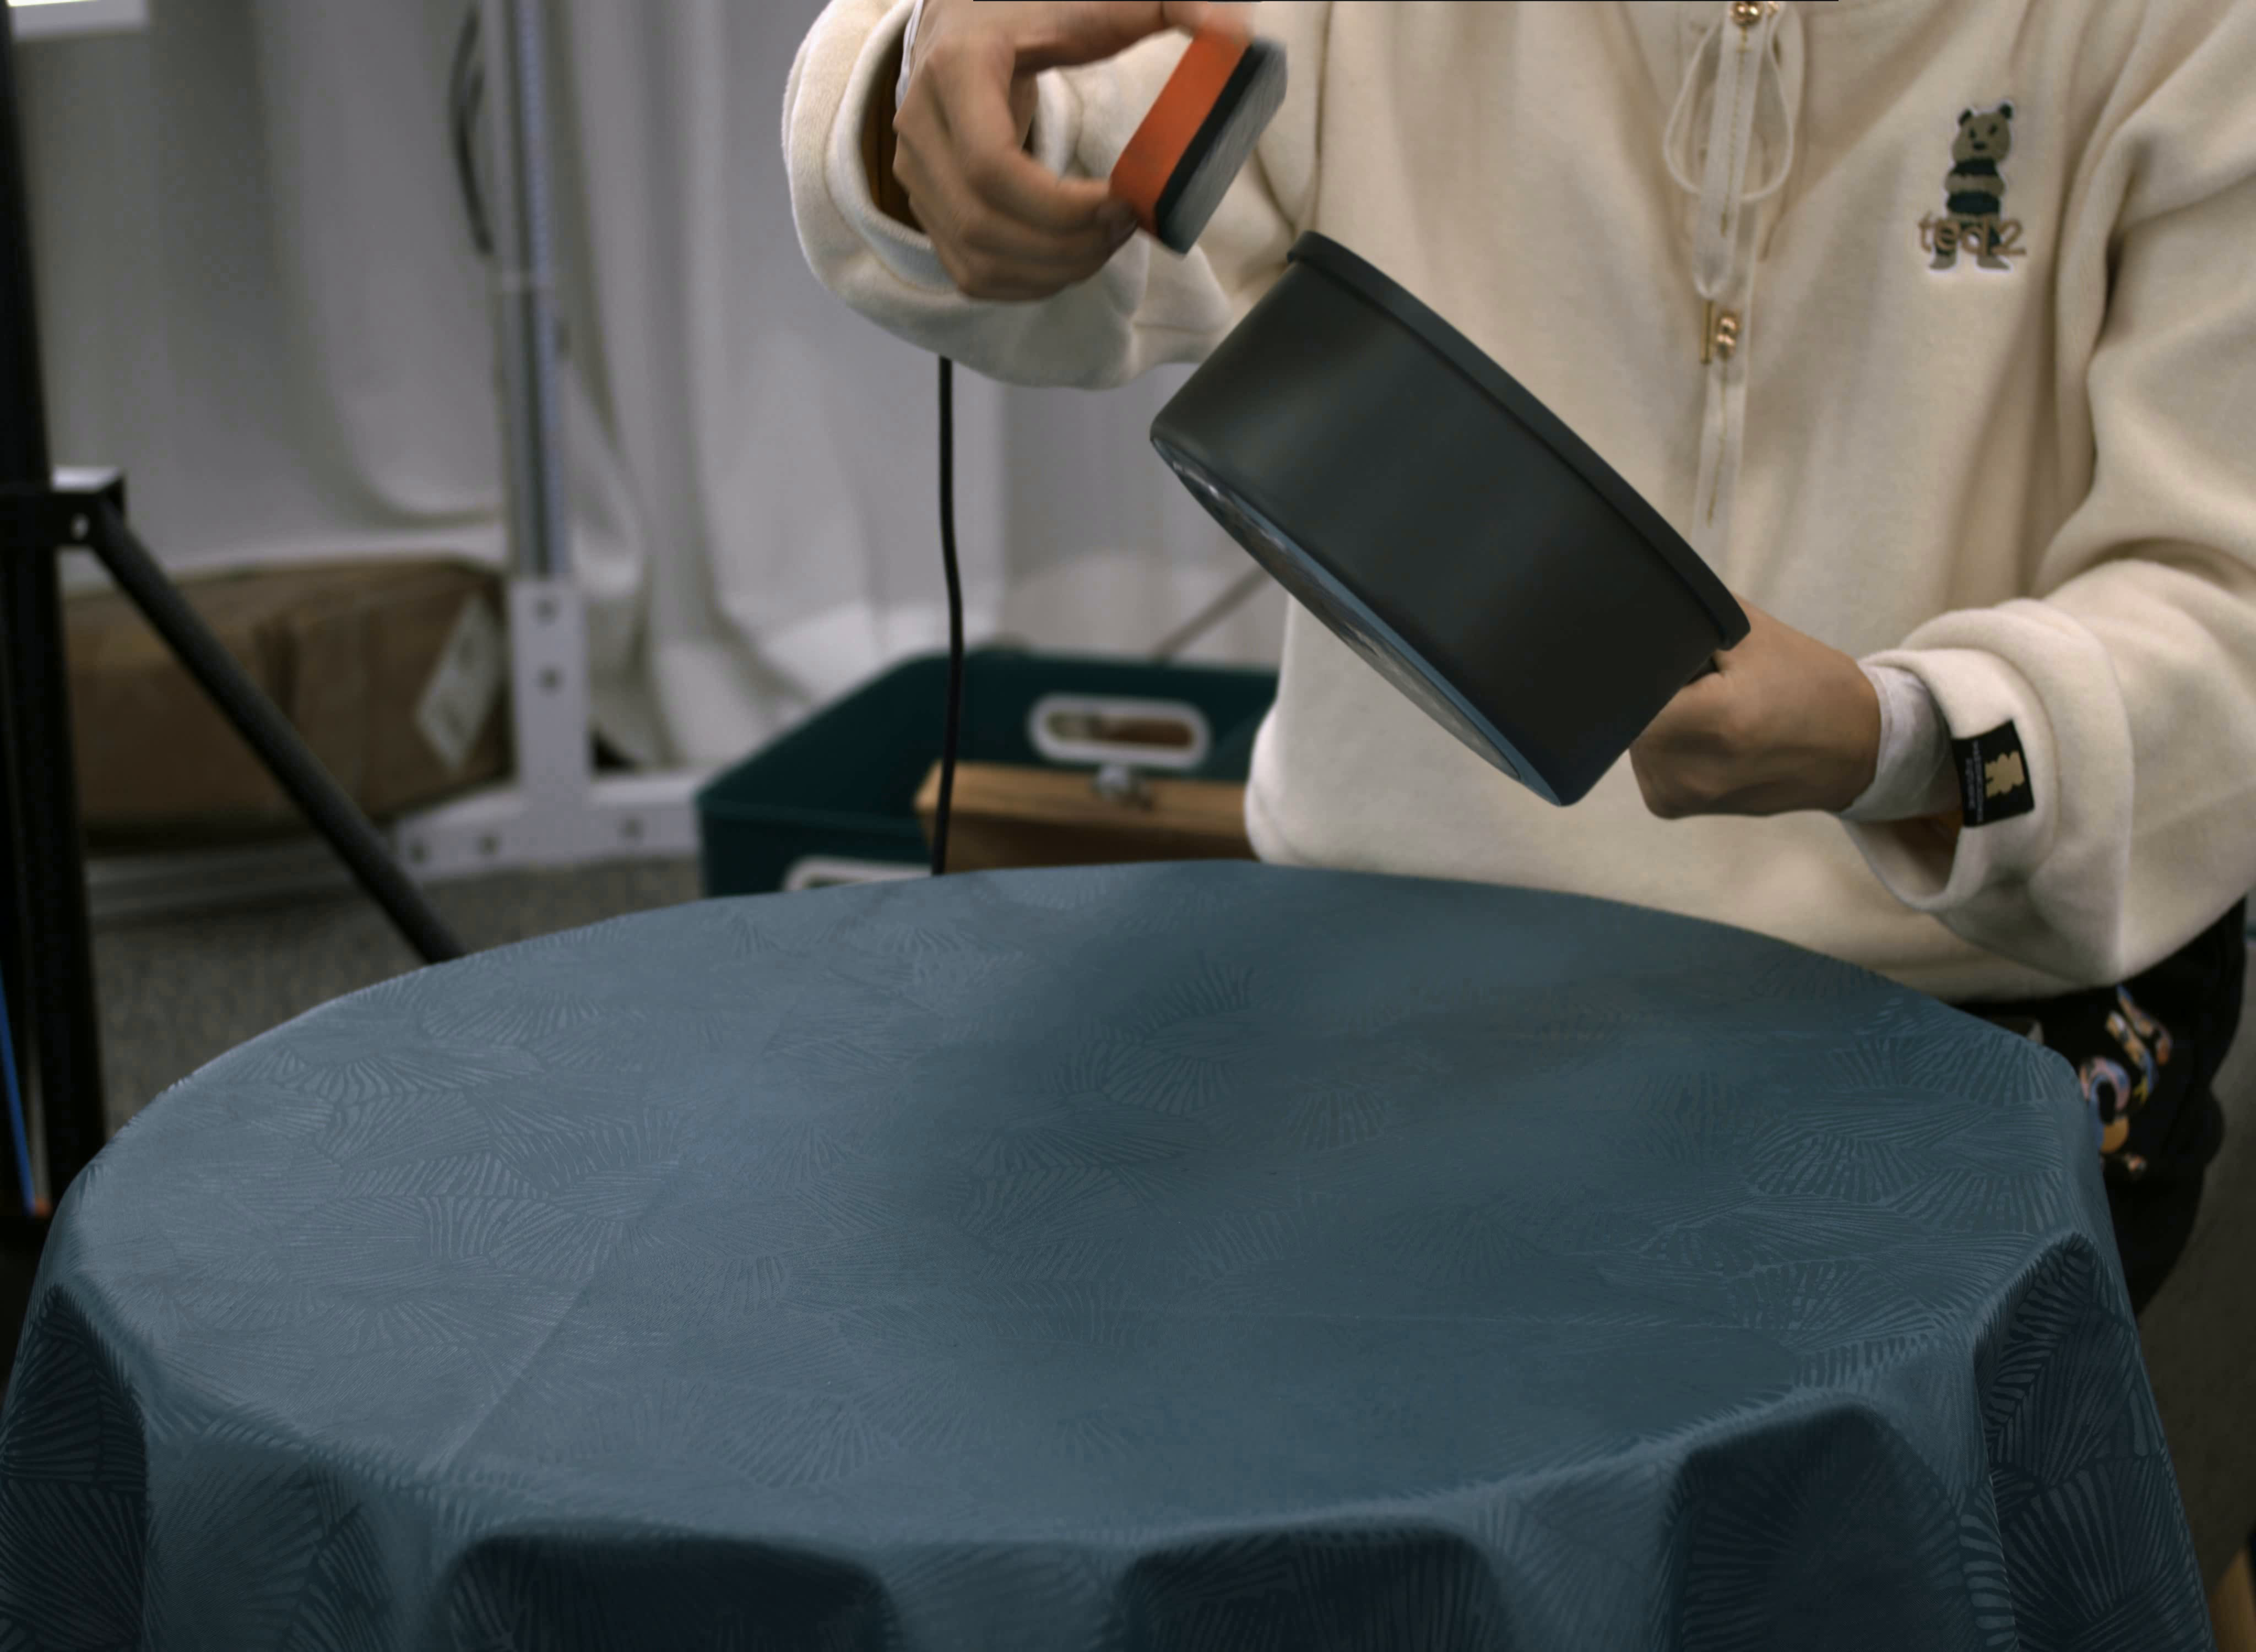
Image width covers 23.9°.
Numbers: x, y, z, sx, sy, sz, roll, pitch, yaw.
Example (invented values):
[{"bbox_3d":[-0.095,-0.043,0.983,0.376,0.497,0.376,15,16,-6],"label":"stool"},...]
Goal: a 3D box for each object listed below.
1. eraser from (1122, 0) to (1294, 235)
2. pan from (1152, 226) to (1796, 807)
[{"bbox_3d":[0.023,-0.198,1.486,0.023,0.059,0.107,29,2,2],"label":"eraser"},{"bbox_3d":[0.119,-0.061,1.574,0.175,0.086,0.322,42,1,30],"label":"pan"}]
